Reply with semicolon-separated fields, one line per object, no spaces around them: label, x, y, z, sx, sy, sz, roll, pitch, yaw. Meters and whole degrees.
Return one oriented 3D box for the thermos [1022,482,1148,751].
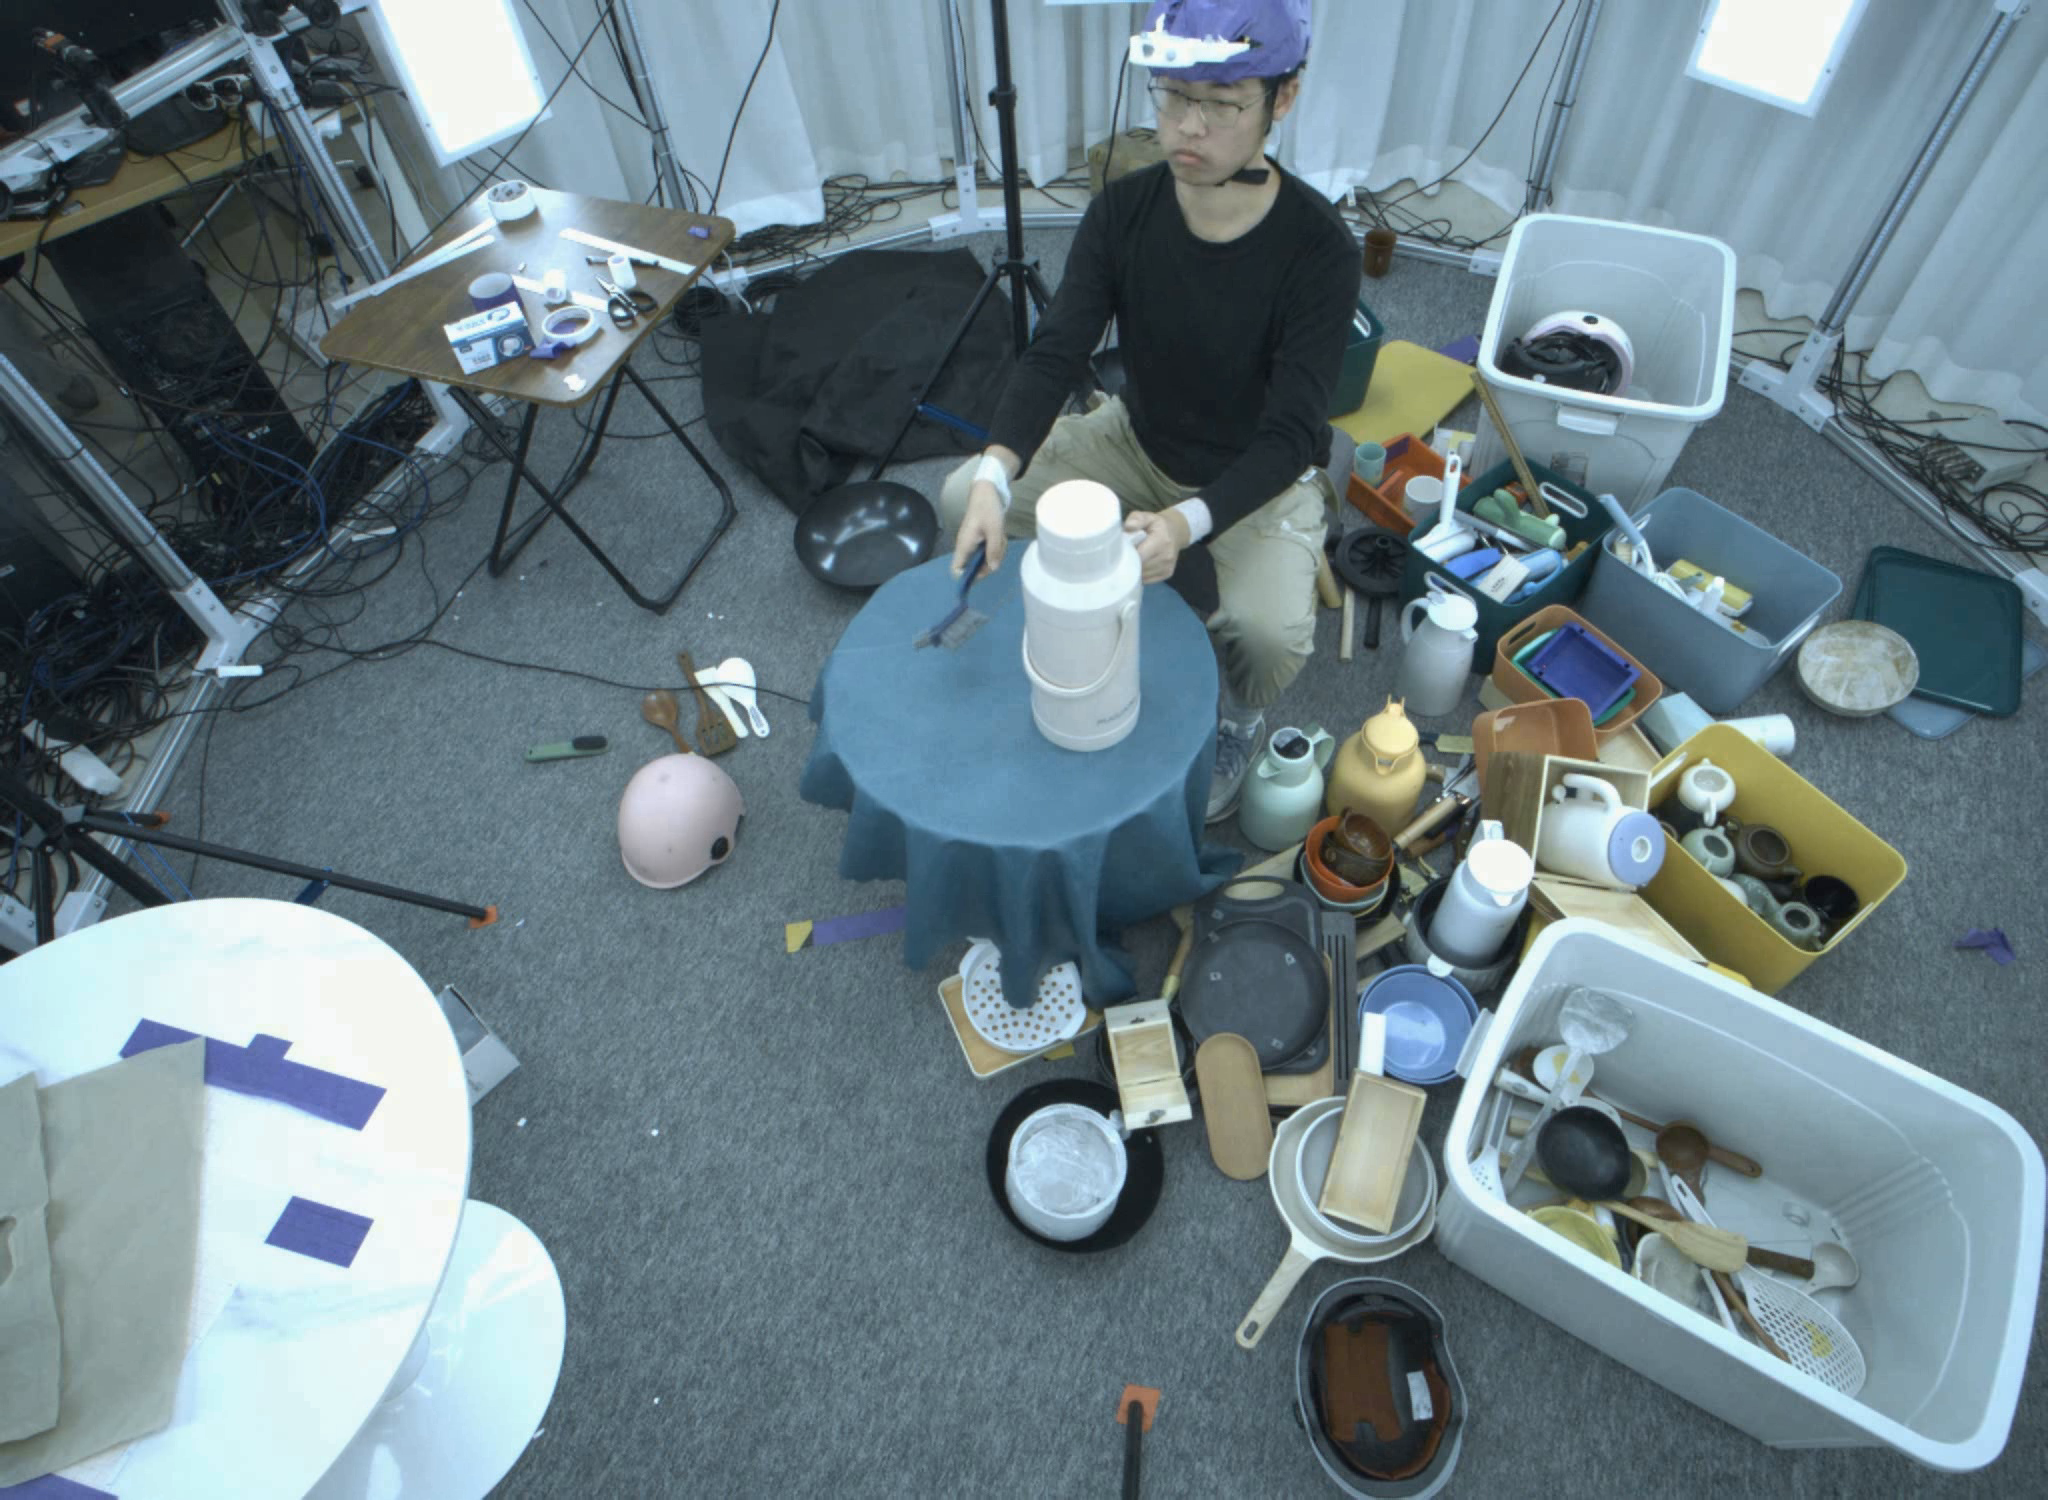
thermos;0.092;-0.185;1.671;0.172;0.411;0.208;36;64;27

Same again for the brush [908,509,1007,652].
brush;-0.087;-0.245;1.746;0.095;0.034;0.271;7;54;9
